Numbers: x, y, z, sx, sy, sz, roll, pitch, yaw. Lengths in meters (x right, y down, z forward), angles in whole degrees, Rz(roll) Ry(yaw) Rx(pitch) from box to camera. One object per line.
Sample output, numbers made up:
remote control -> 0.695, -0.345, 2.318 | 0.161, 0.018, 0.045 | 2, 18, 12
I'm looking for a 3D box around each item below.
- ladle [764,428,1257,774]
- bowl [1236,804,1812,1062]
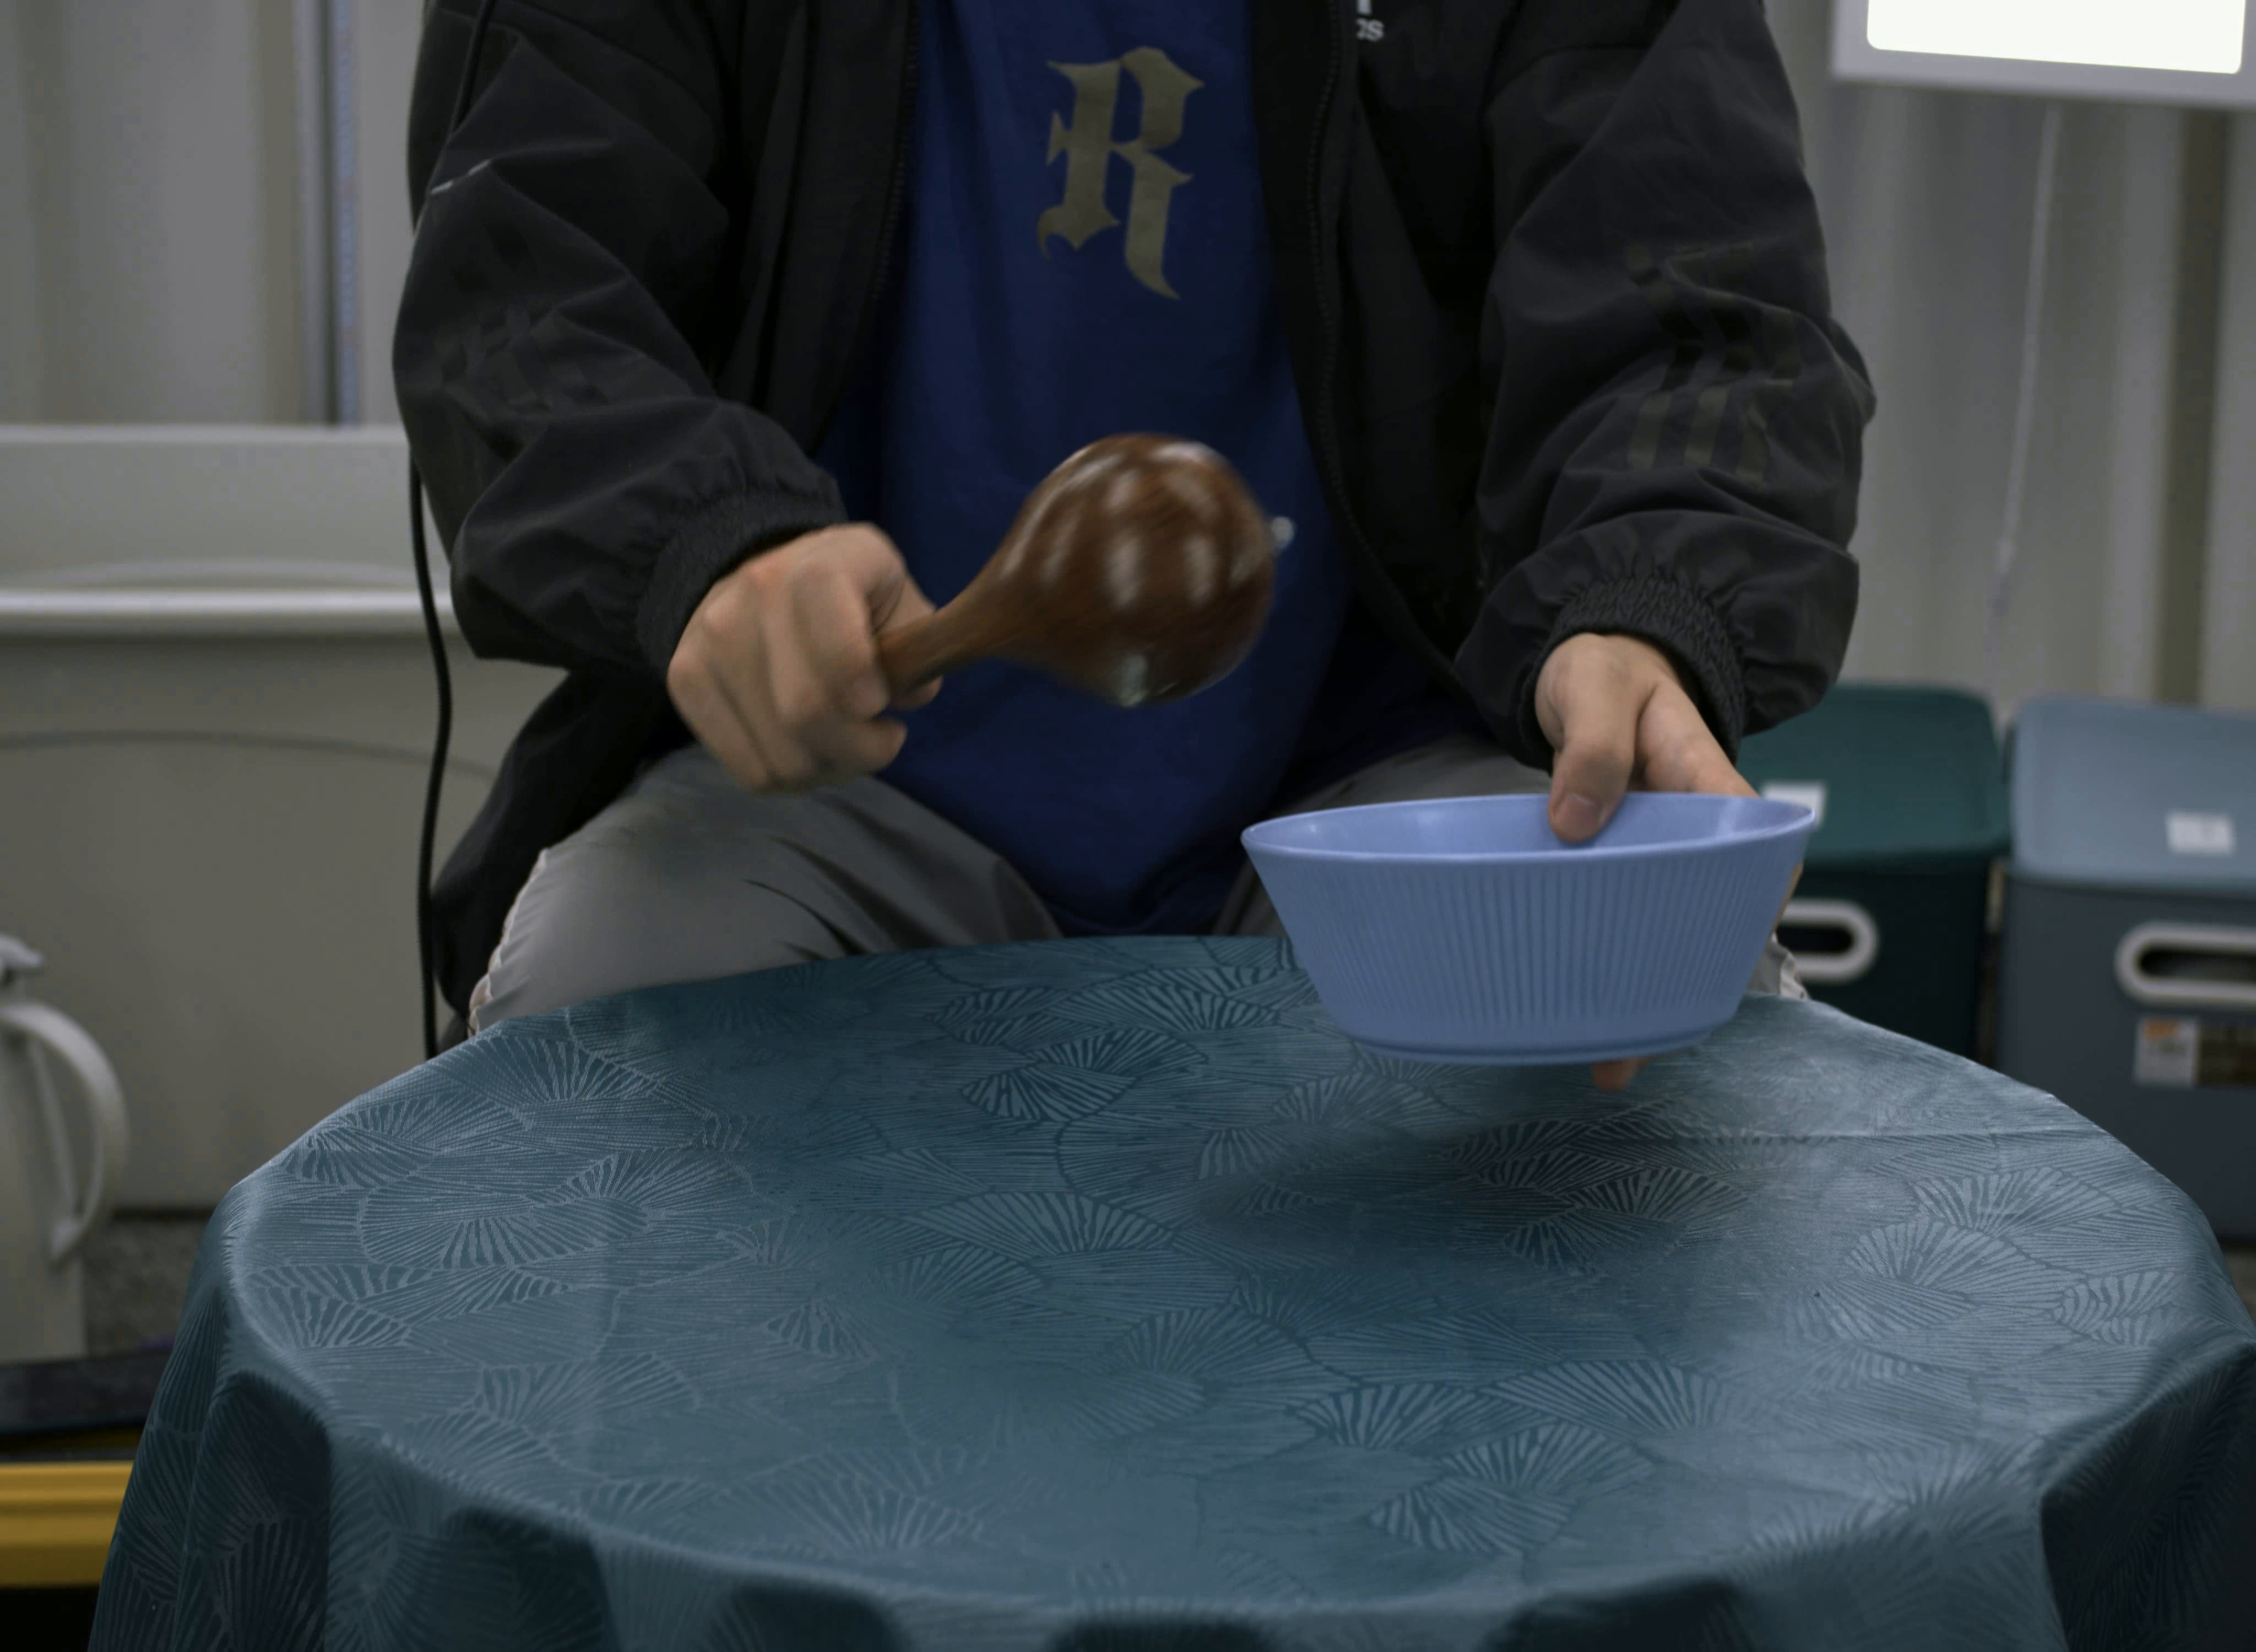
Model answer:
ladle -> -0.040, -0.058, 1.634 | 0.077, 0.082, 0.273 | -7, -7, -21
bowl -> 0.121, 0.032, 1.610 | 0.175, 0.070, 0.176 | -1, 5, 1
